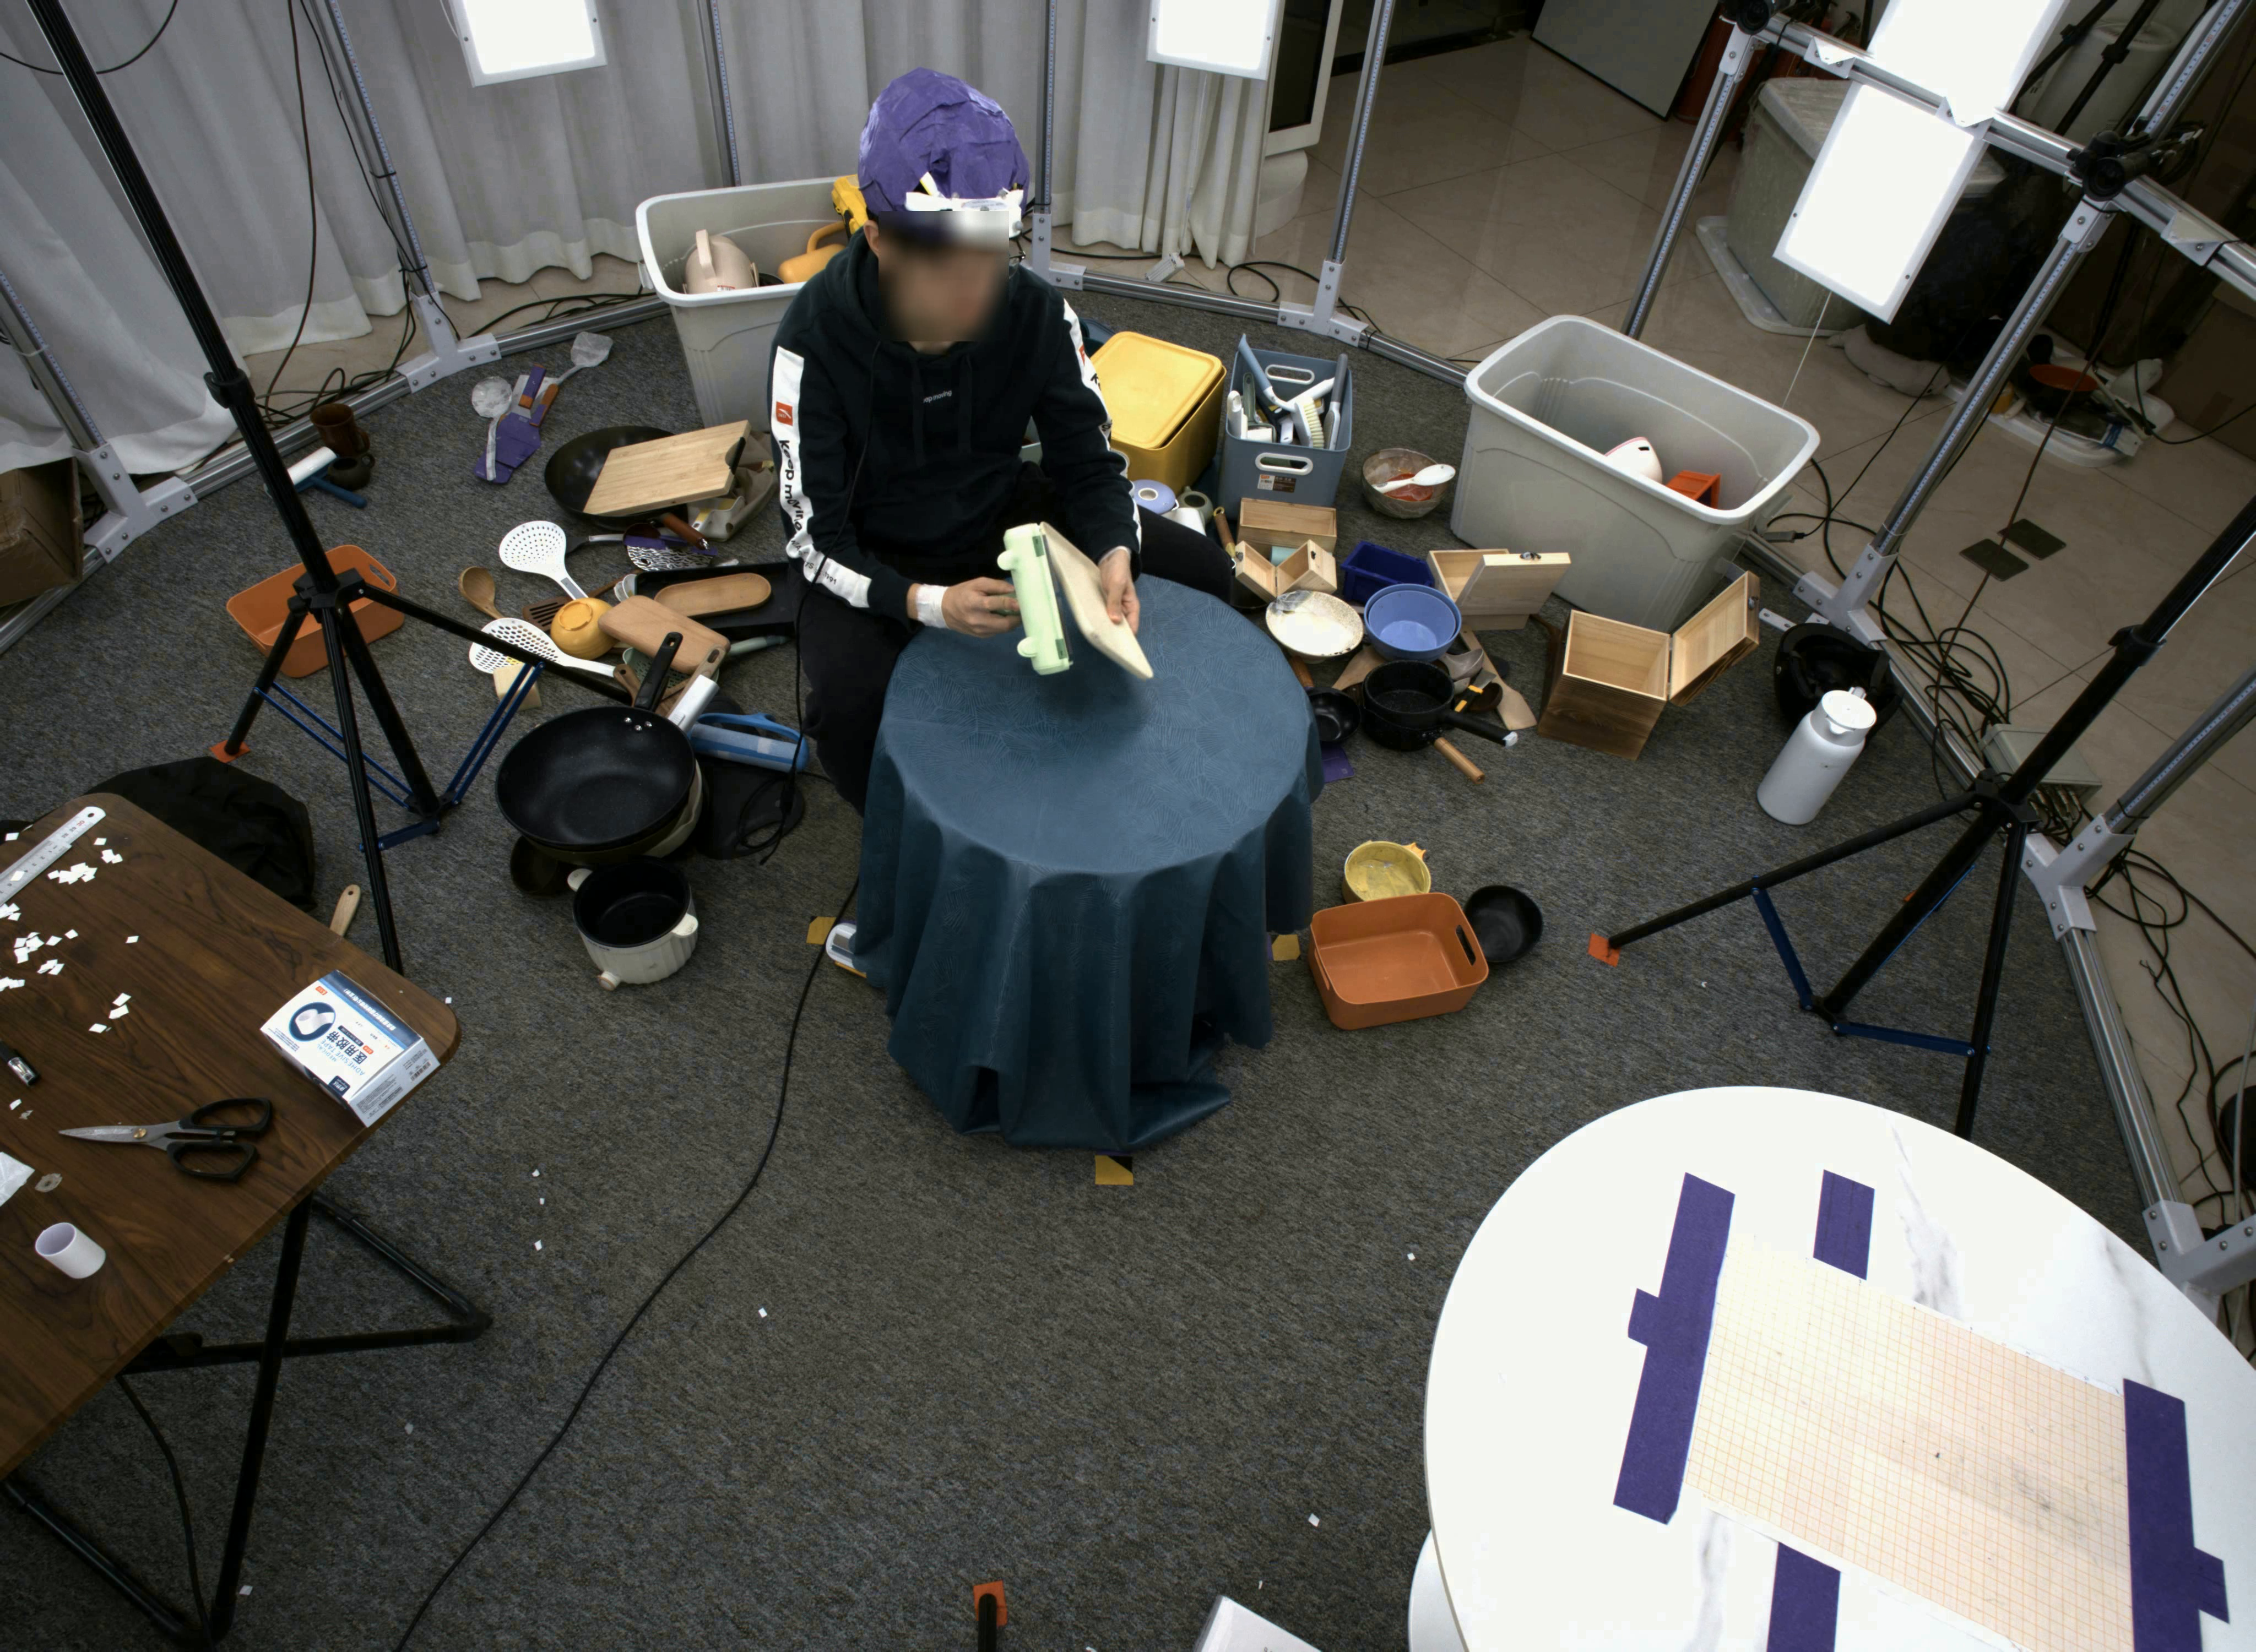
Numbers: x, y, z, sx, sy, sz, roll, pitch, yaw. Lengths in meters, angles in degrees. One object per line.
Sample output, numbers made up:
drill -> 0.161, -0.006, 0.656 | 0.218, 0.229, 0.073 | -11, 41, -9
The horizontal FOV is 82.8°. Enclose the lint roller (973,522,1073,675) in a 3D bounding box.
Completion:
lint roller -> -0.165, -0.297, 1.735 | 0.184, 0.197, 0.082 | -3, 14, 41

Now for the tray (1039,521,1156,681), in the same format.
tray -> -0.045, -0.311, 1.790 | 0.017, 0.168, 0.245 | -36, 56, 17
